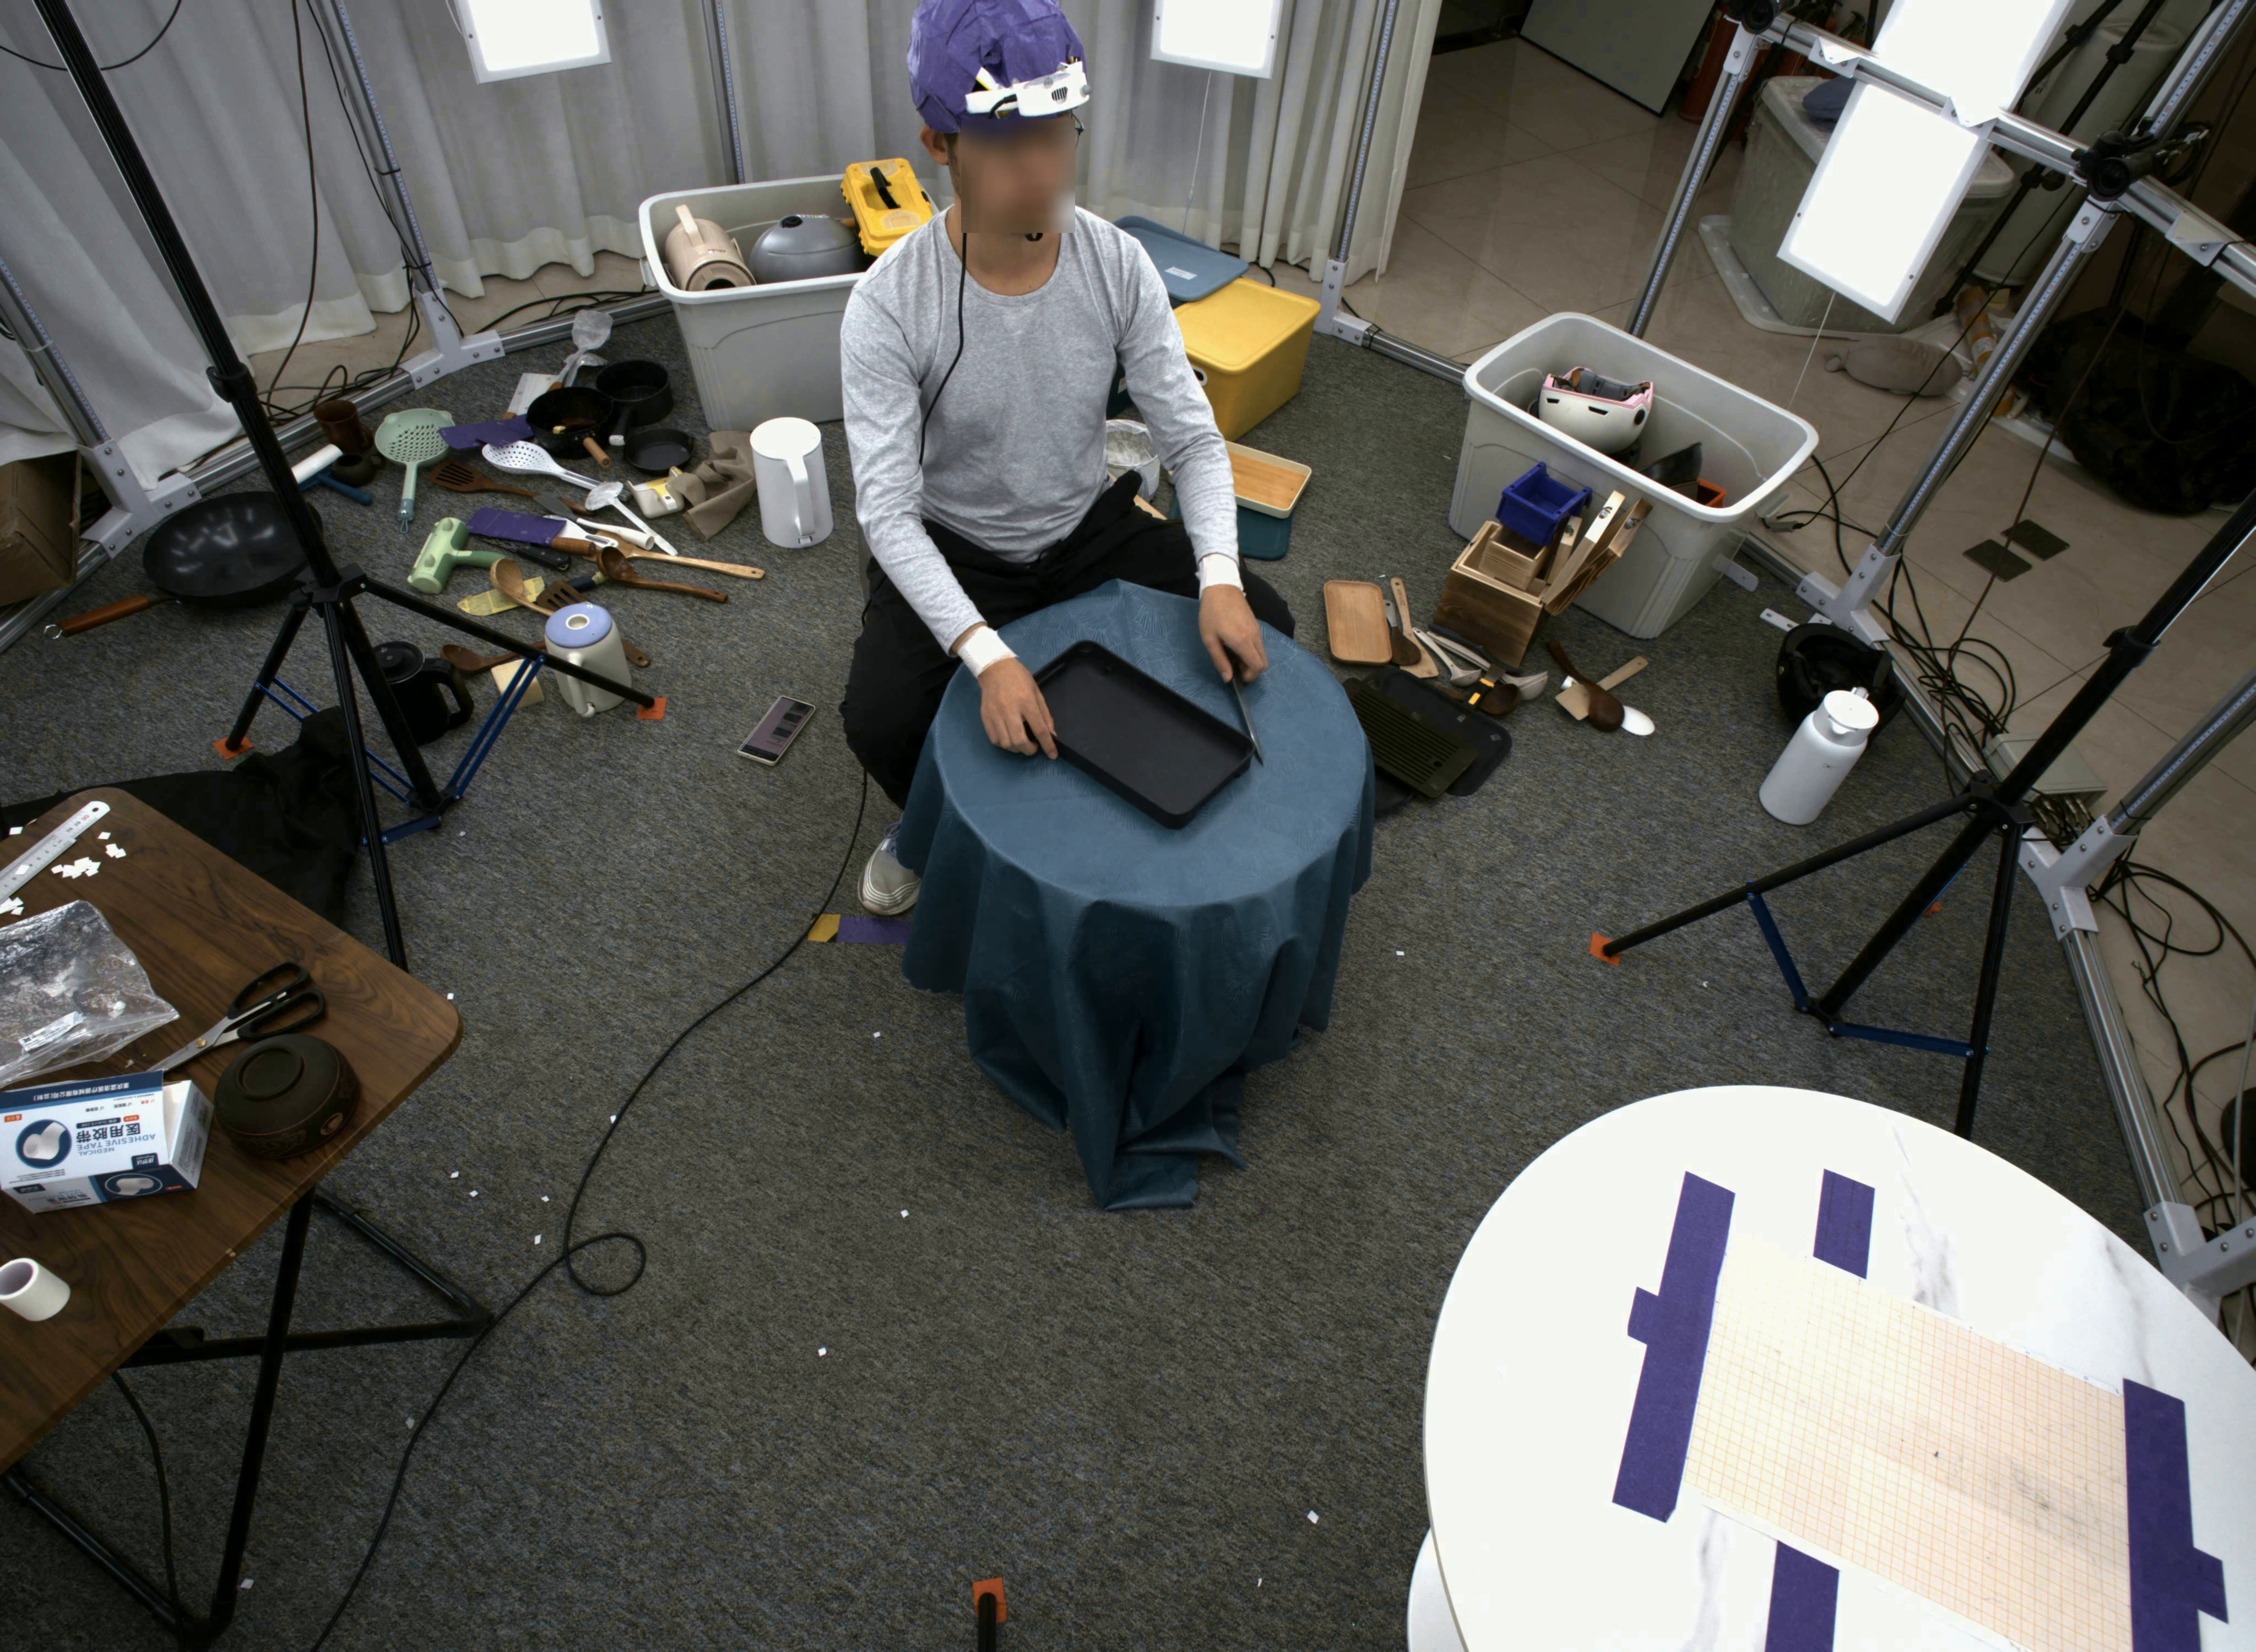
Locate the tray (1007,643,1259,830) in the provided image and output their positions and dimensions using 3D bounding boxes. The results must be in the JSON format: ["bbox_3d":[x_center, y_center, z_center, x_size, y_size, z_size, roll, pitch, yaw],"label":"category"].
[{"bbox_3d":[0.005,-0.128,1.755,0.322,0.036,0.186,33,54,23],"label":"tray"}]

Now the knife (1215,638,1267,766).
[{"bbox_3d":[0.161,-0.179,1.818,0.024,0.016,0.244,21,42,-41],"label":"knife"}]
